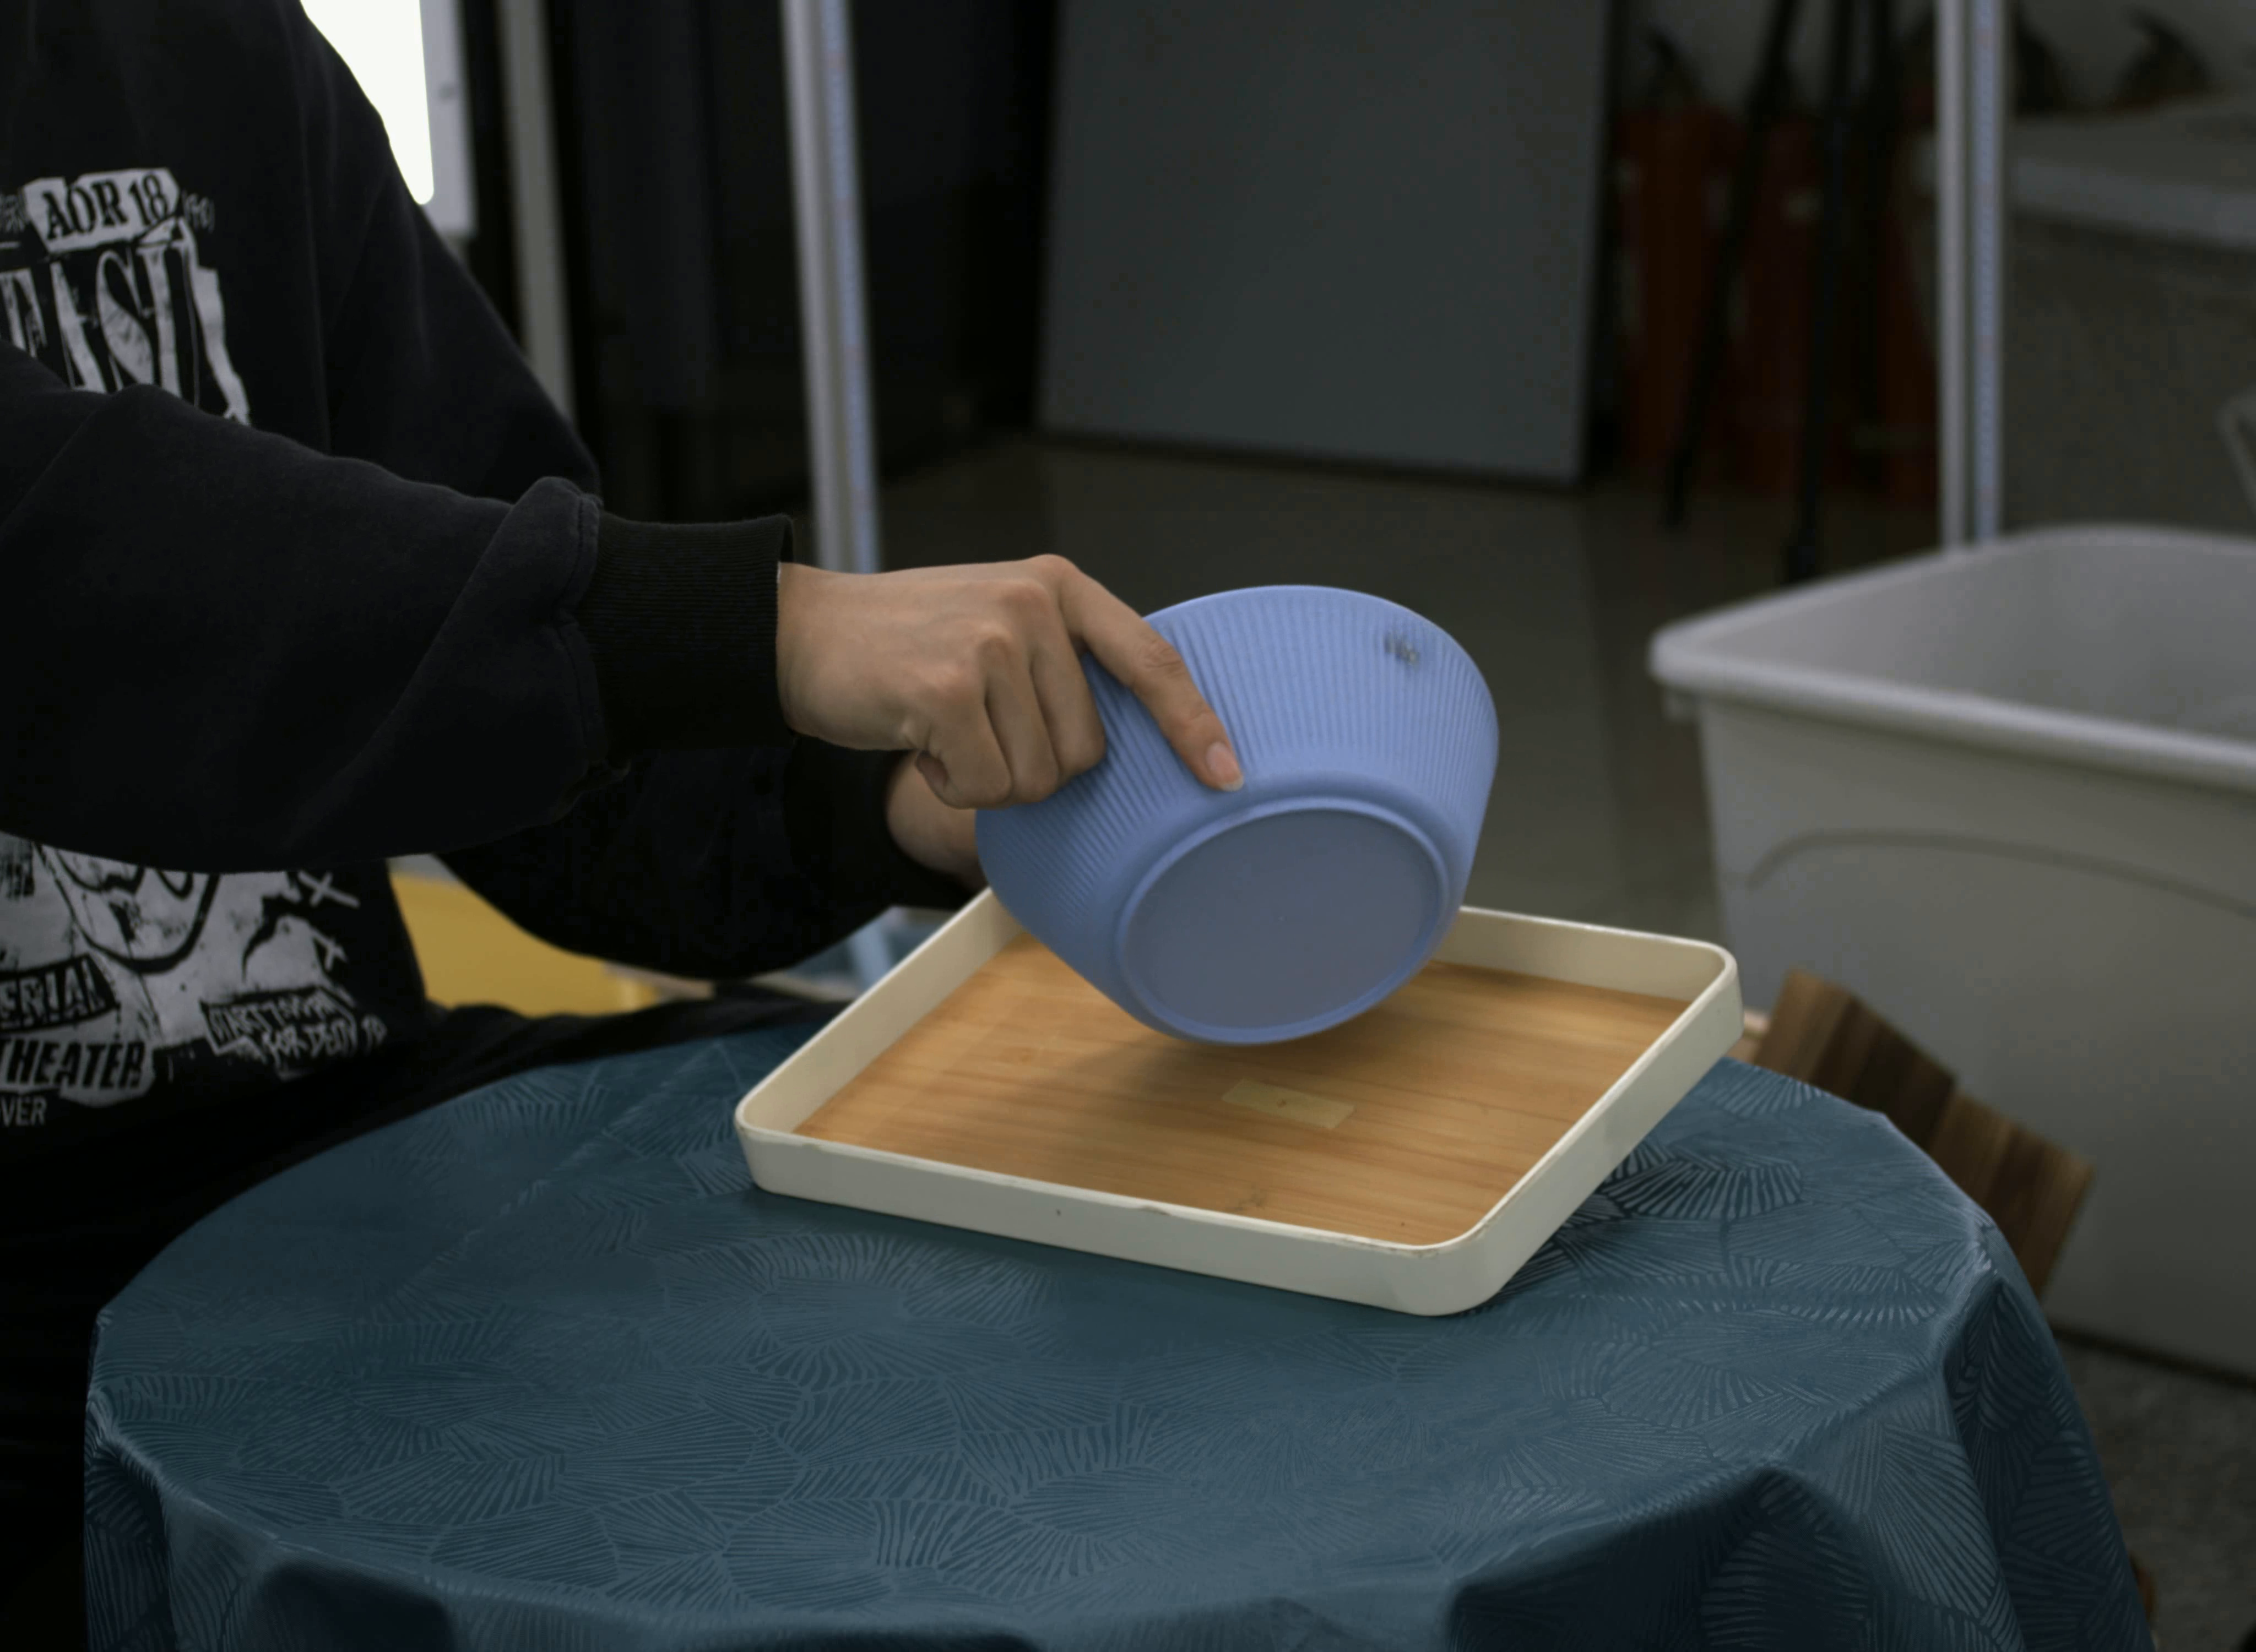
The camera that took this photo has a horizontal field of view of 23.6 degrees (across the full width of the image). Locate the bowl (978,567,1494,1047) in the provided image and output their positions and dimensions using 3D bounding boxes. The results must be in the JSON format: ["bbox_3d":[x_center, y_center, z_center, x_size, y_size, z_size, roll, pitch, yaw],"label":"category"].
[{"bbox_3d":[0.042,0.007,1.732,0.173,0.177,0.071,-6,42,-10],"label":"bowl"}]

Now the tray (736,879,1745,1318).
[{"bbox_3d":[0.035,0.081,1.770,0.302,0.027,0.189,7,34,38],"label":"tray"}]
